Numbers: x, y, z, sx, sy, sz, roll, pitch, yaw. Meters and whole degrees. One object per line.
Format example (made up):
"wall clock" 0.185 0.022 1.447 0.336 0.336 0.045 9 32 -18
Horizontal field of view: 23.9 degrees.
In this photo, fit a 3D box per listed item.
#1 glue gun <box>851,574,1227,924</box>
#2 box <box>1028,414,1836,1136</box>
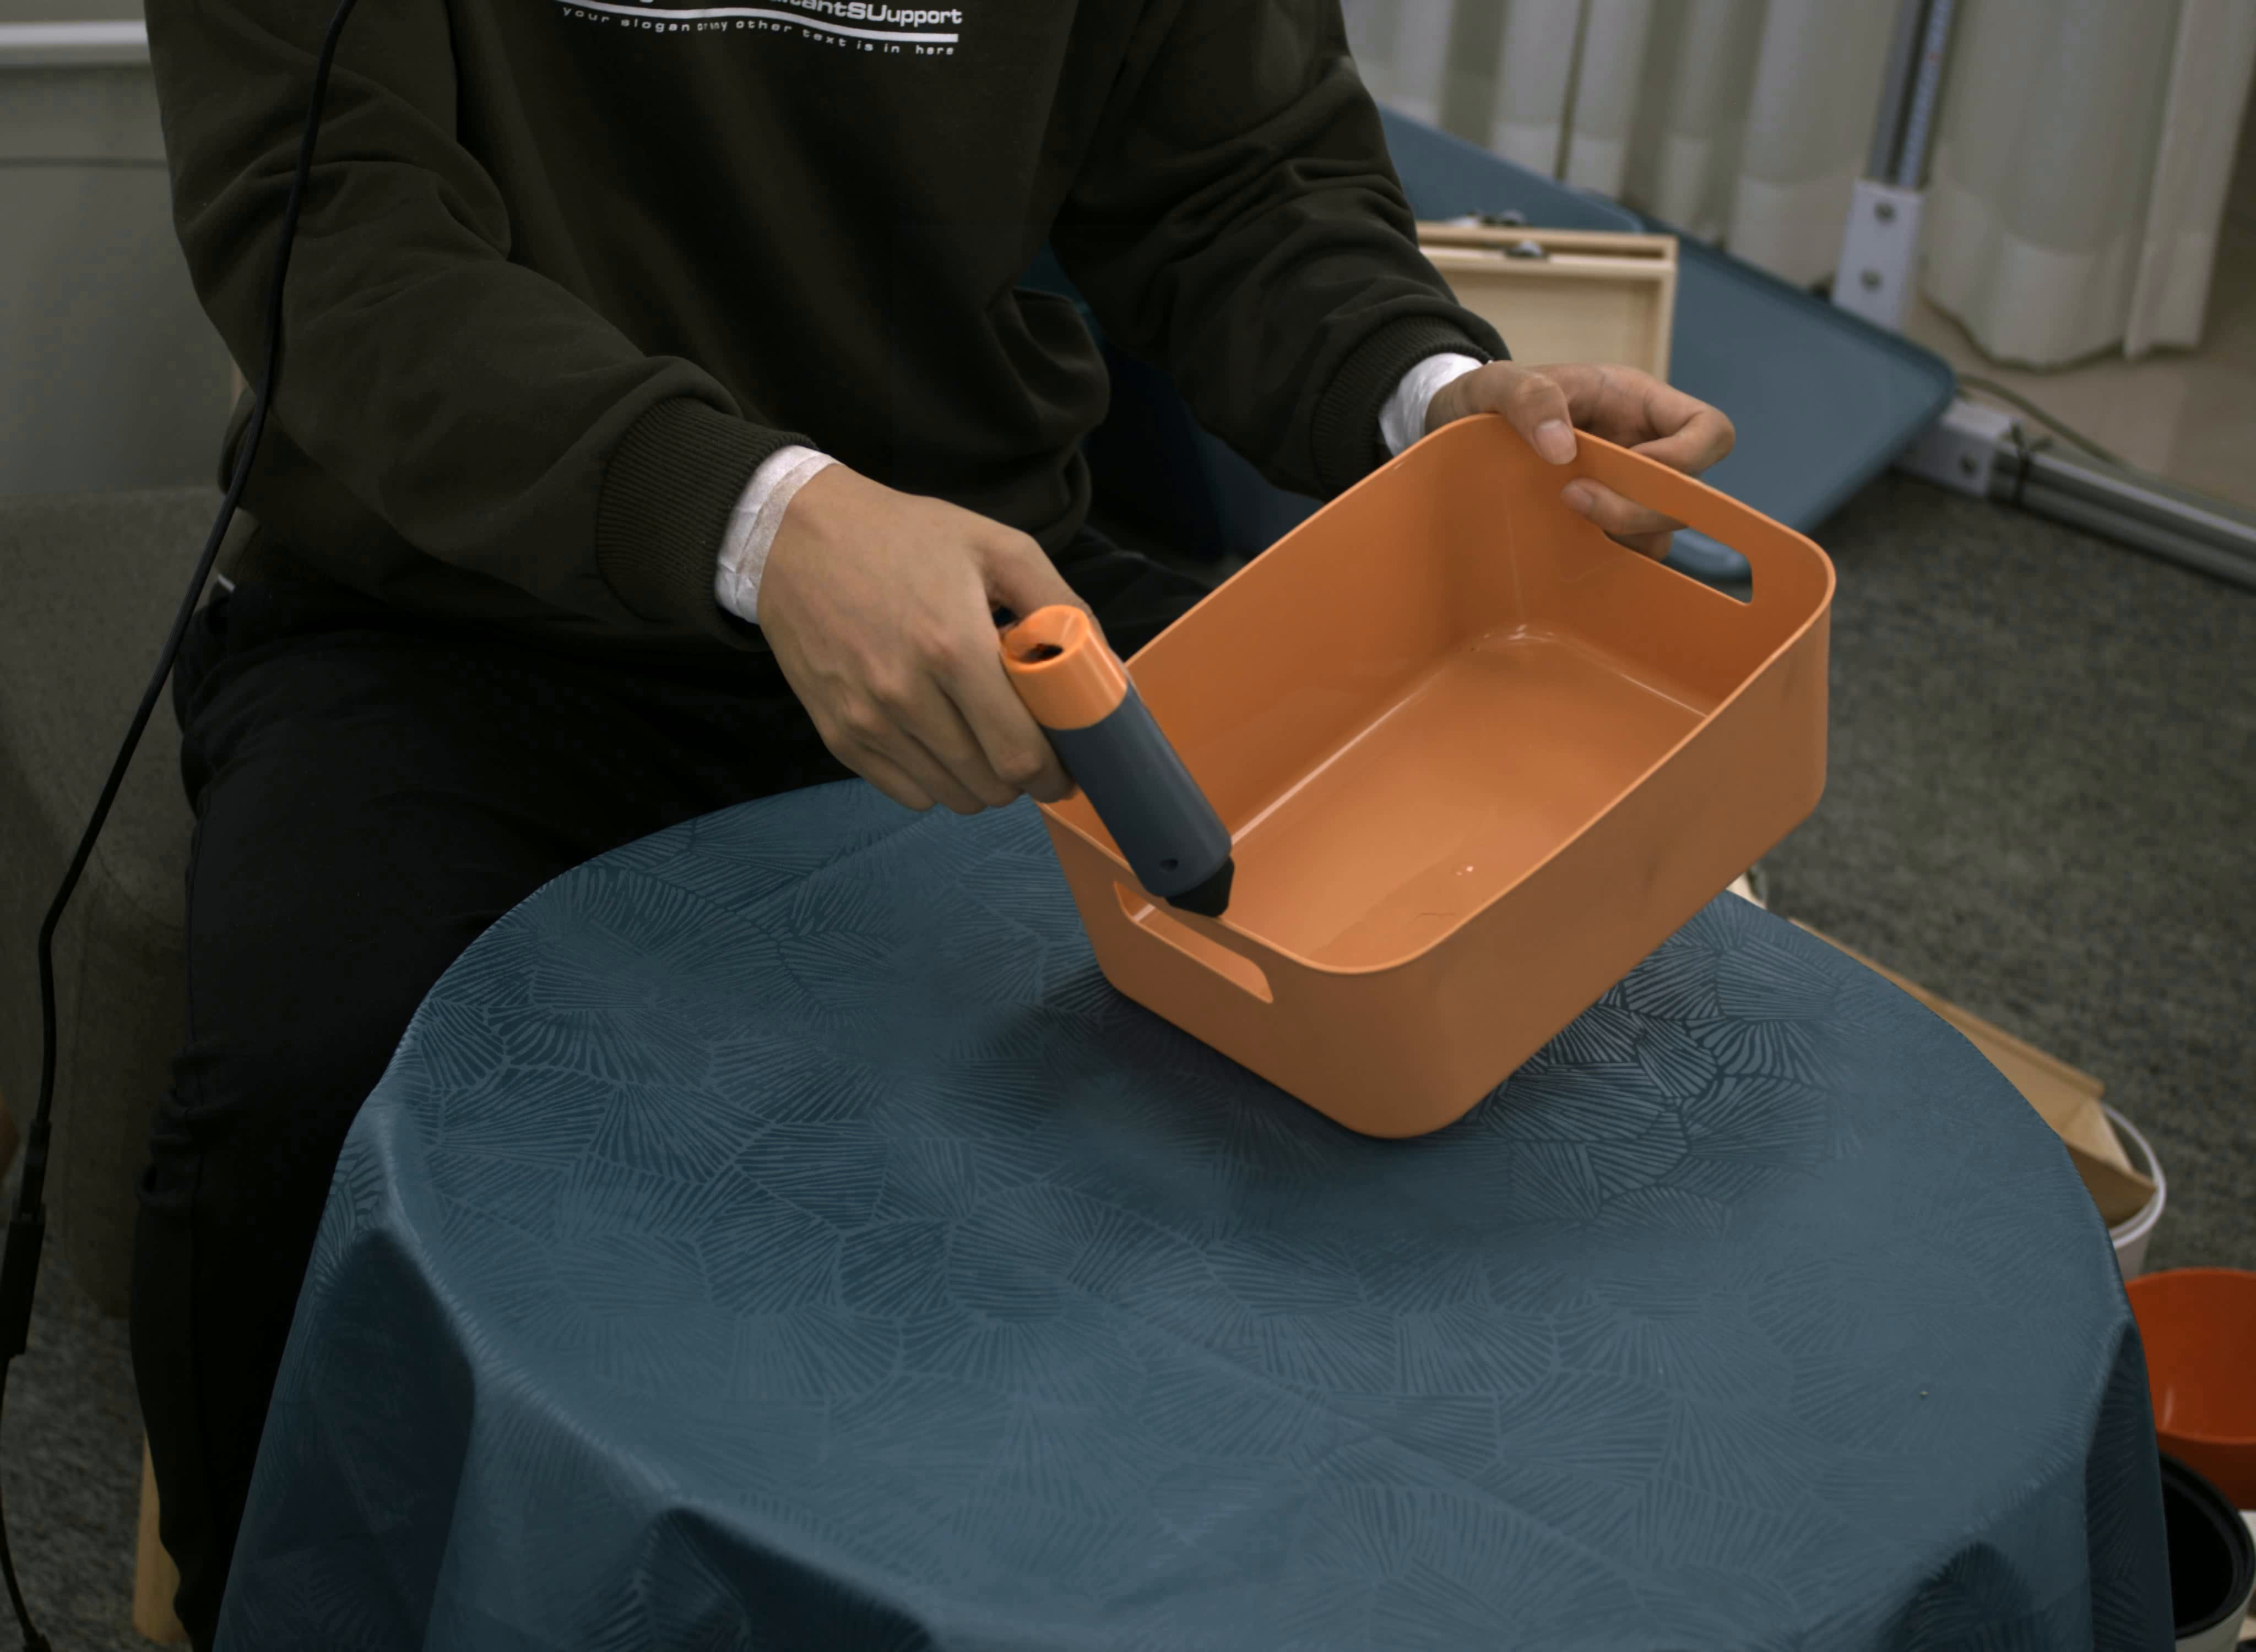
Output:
"glue gun" -0.028 -0.029 1.822 0.041 0.117 0.141 -41 41 -23
"box" 0.115 -0.017 1.922 0.201 0.102 0.273 28 55 38
